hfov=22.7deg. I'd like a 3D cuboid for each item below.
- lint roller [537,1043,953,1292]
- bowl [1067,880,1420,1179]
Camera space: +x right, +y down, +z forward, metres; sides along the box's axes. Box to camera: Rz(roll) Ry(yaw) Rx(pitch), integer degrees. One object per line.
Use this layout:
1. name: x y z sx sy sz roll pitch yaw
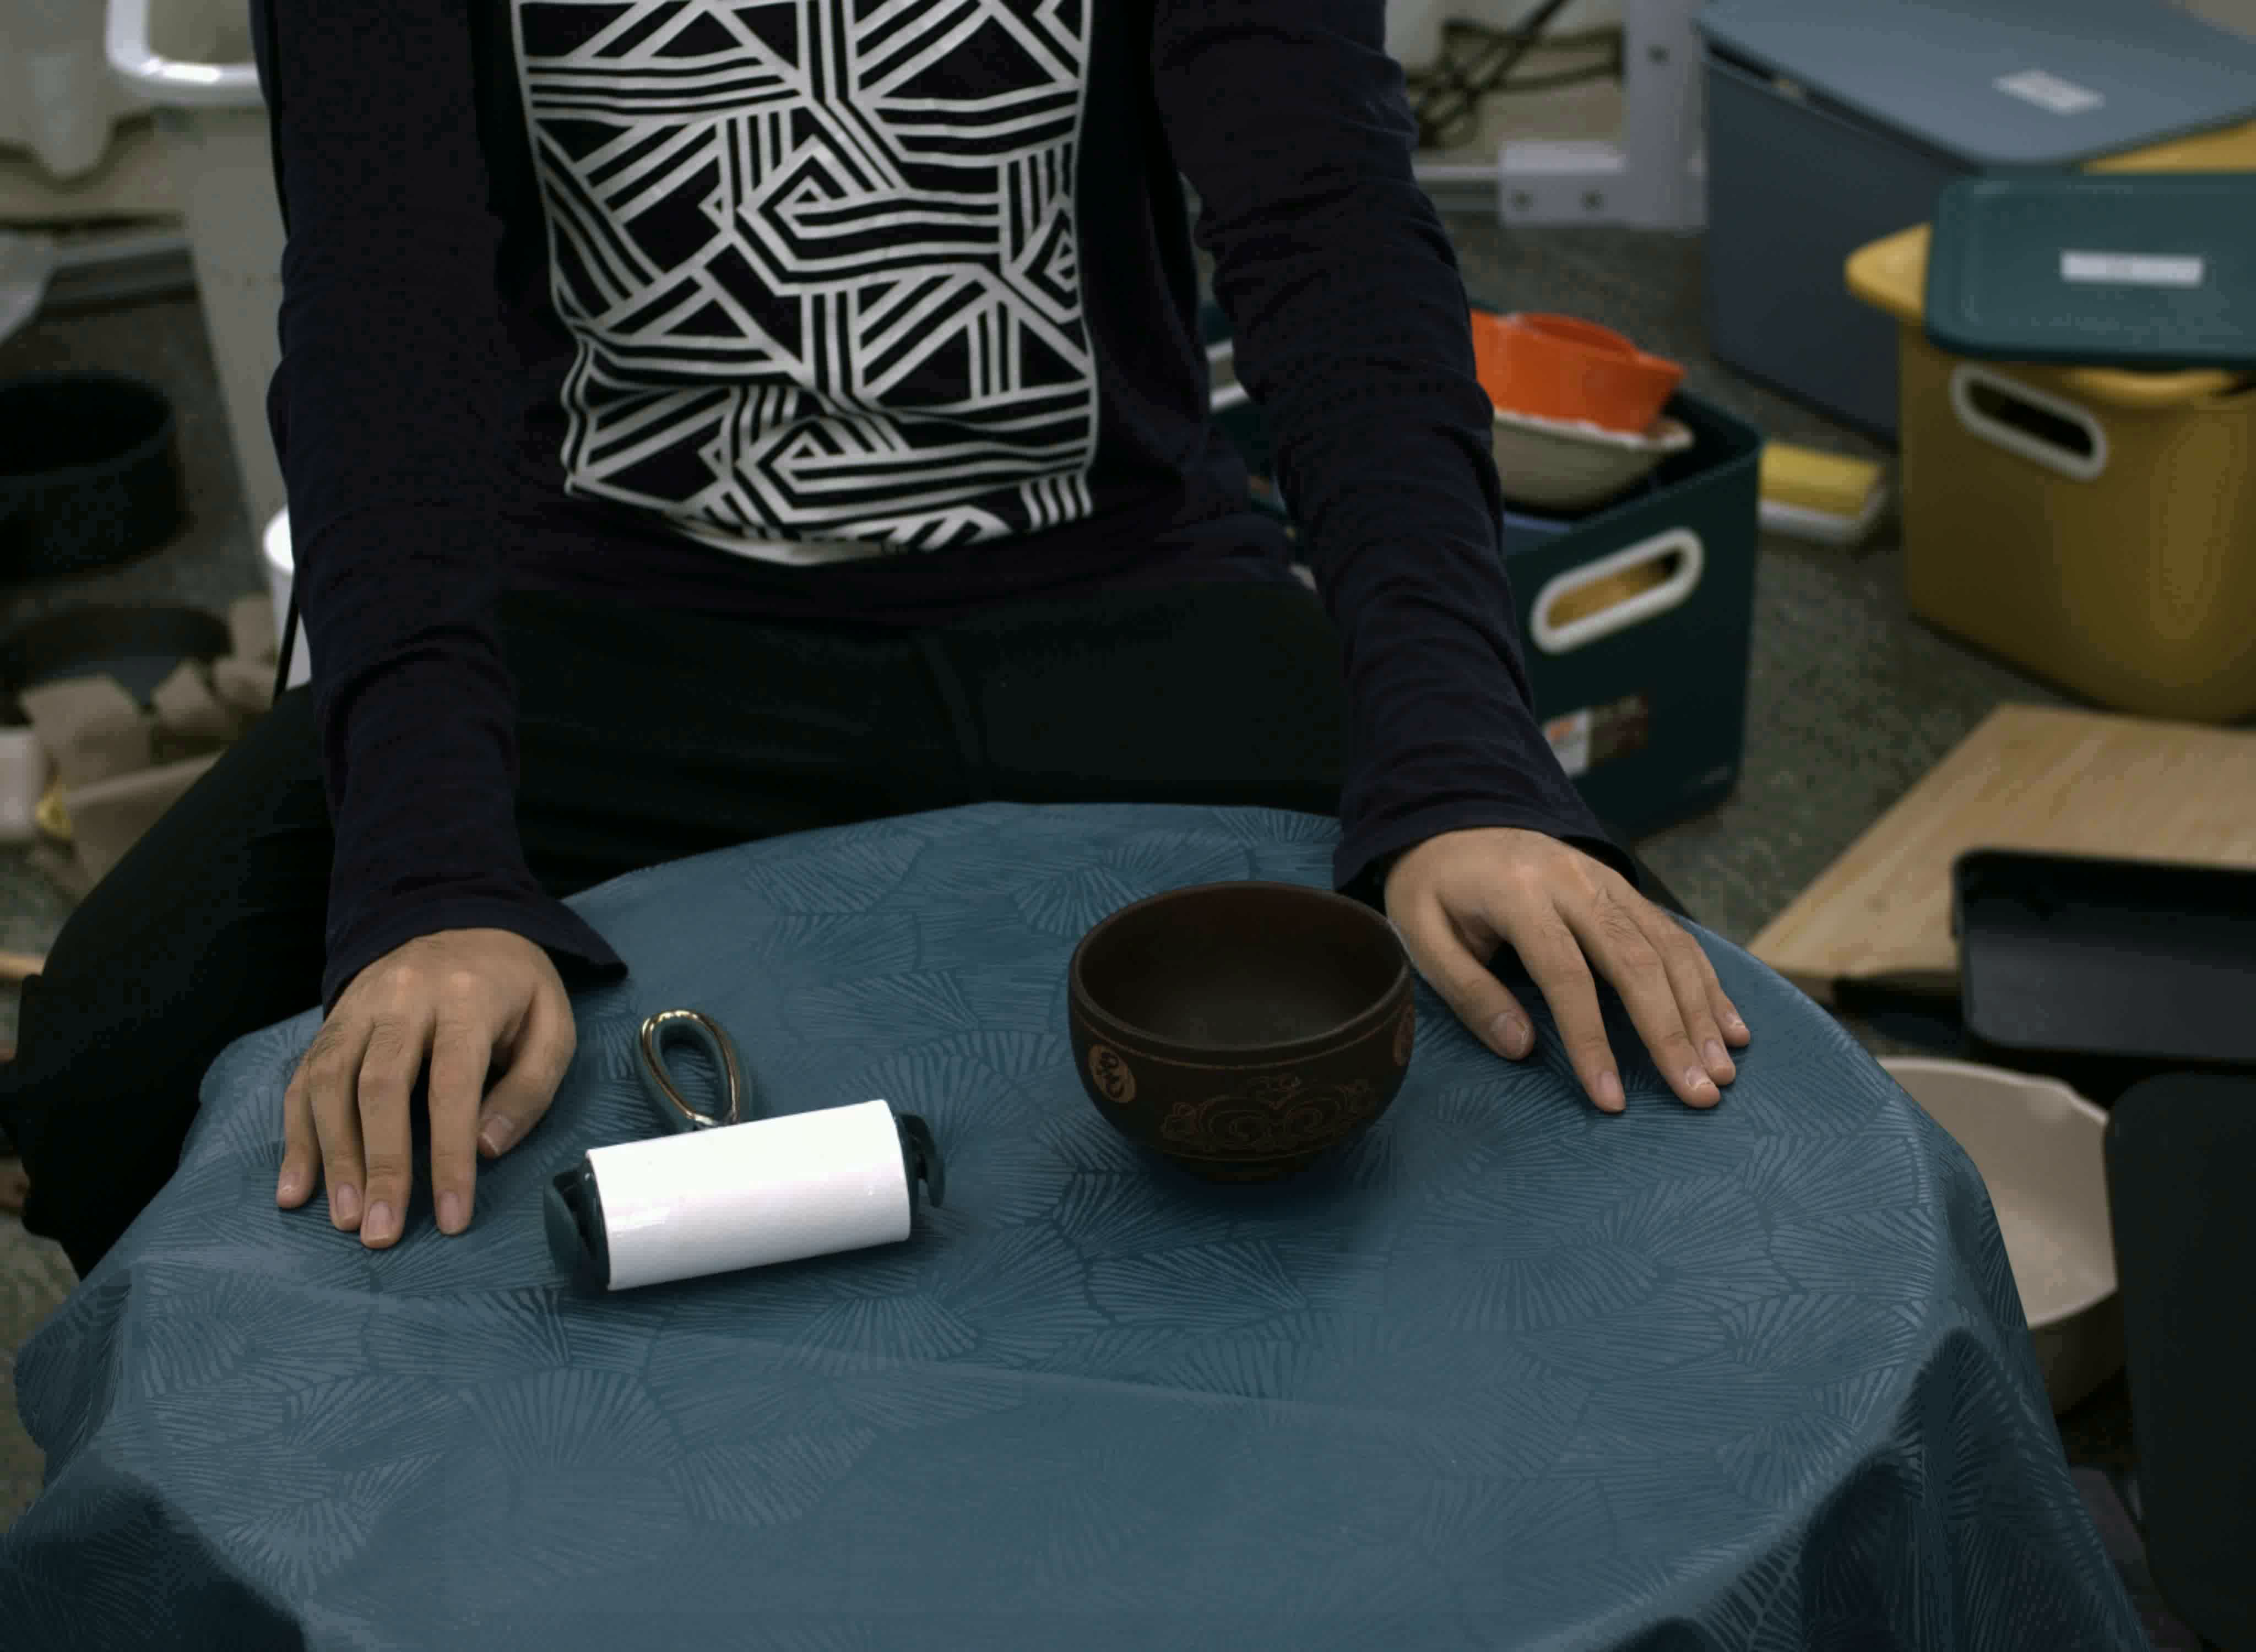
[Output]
1. lint roller: -0.141 0.094 1.885 0.134 0.048 0.182 -9 25 -12
2. bowl: 0.040 0.074 1.872 0.117 0.069 0.120 -4 25 2
